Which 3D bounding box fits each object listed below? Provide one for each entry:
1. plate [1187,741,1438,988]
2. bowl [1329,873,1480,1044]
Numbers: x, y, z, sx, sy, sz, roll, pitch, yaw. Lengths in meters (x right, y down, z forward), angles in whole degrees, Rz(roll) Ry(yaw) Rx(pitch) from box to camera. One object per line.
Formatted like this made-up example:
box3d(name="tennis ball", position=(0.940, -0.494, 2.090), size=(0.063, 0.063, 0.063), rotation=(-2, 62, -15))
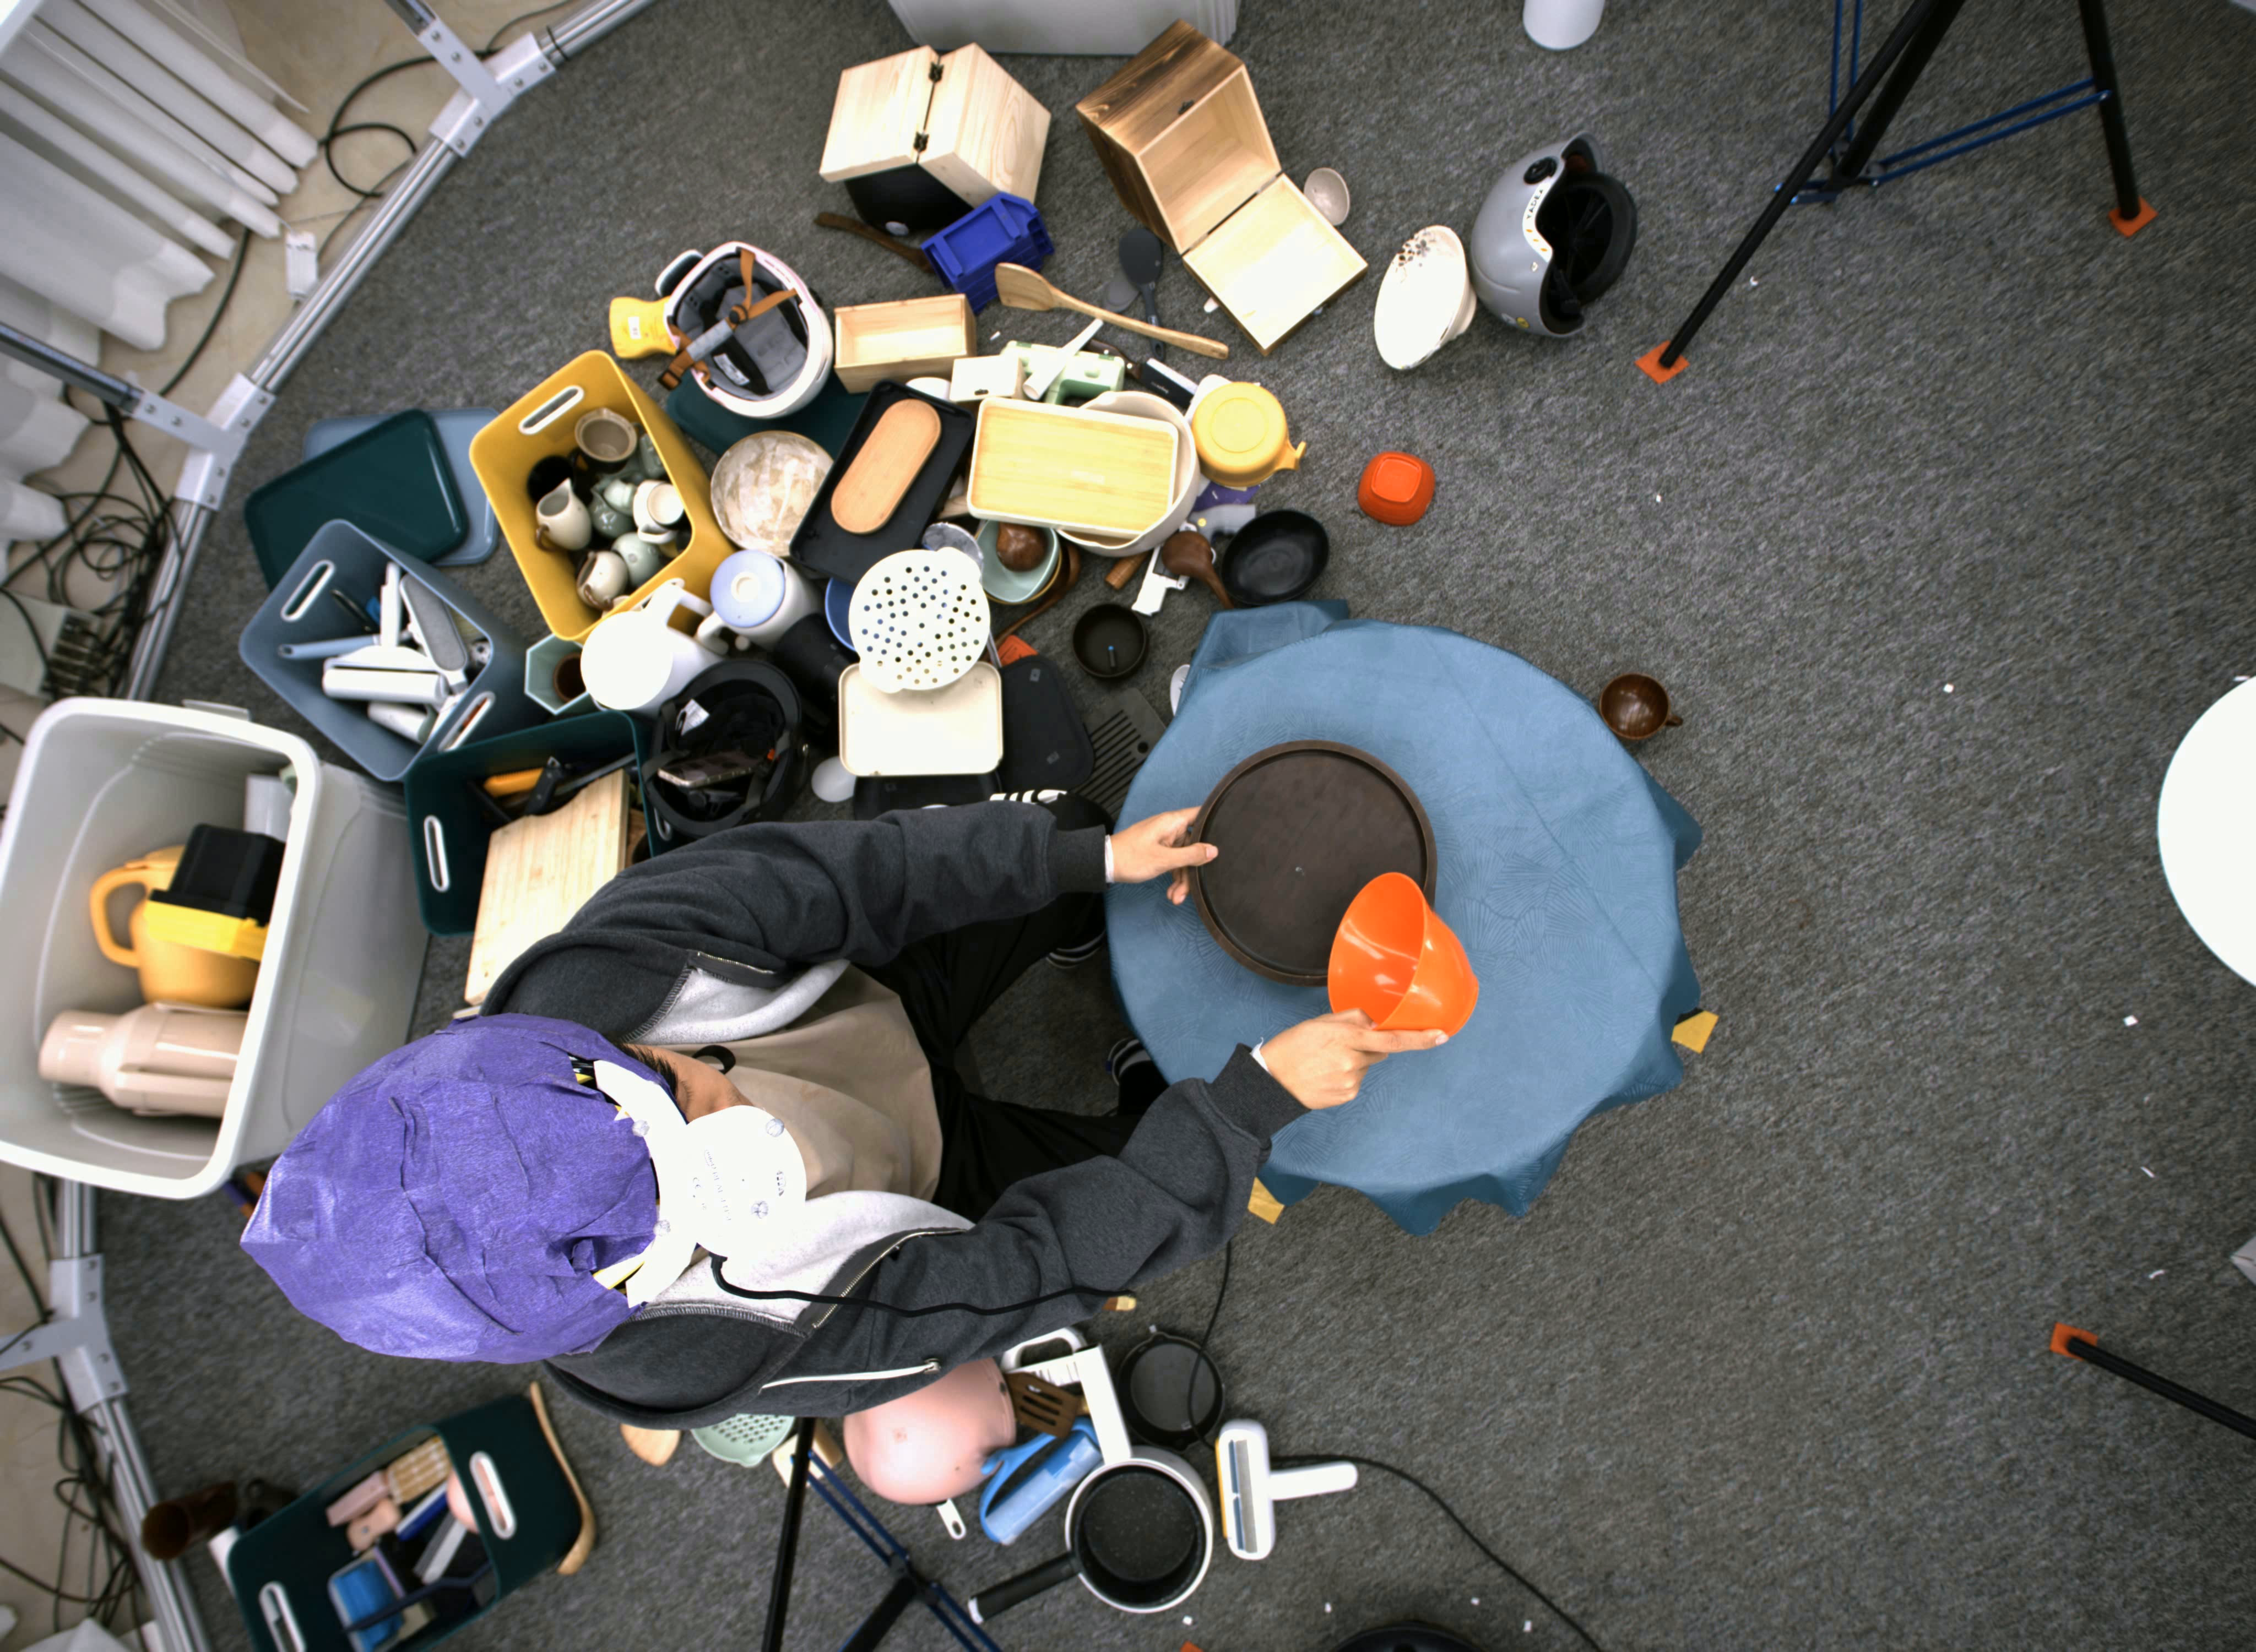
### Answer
box3d(name="plate", position=(0.187, 0.038, 1.412), size=(0.255, 0.029, 0.254), rotation=(0, 89, 8))
box3d(name="bowl", position=(0.256, 0.129, 1.238), size=(0.105, 0.147, 0.148), rotation=(28, 90, -17))
